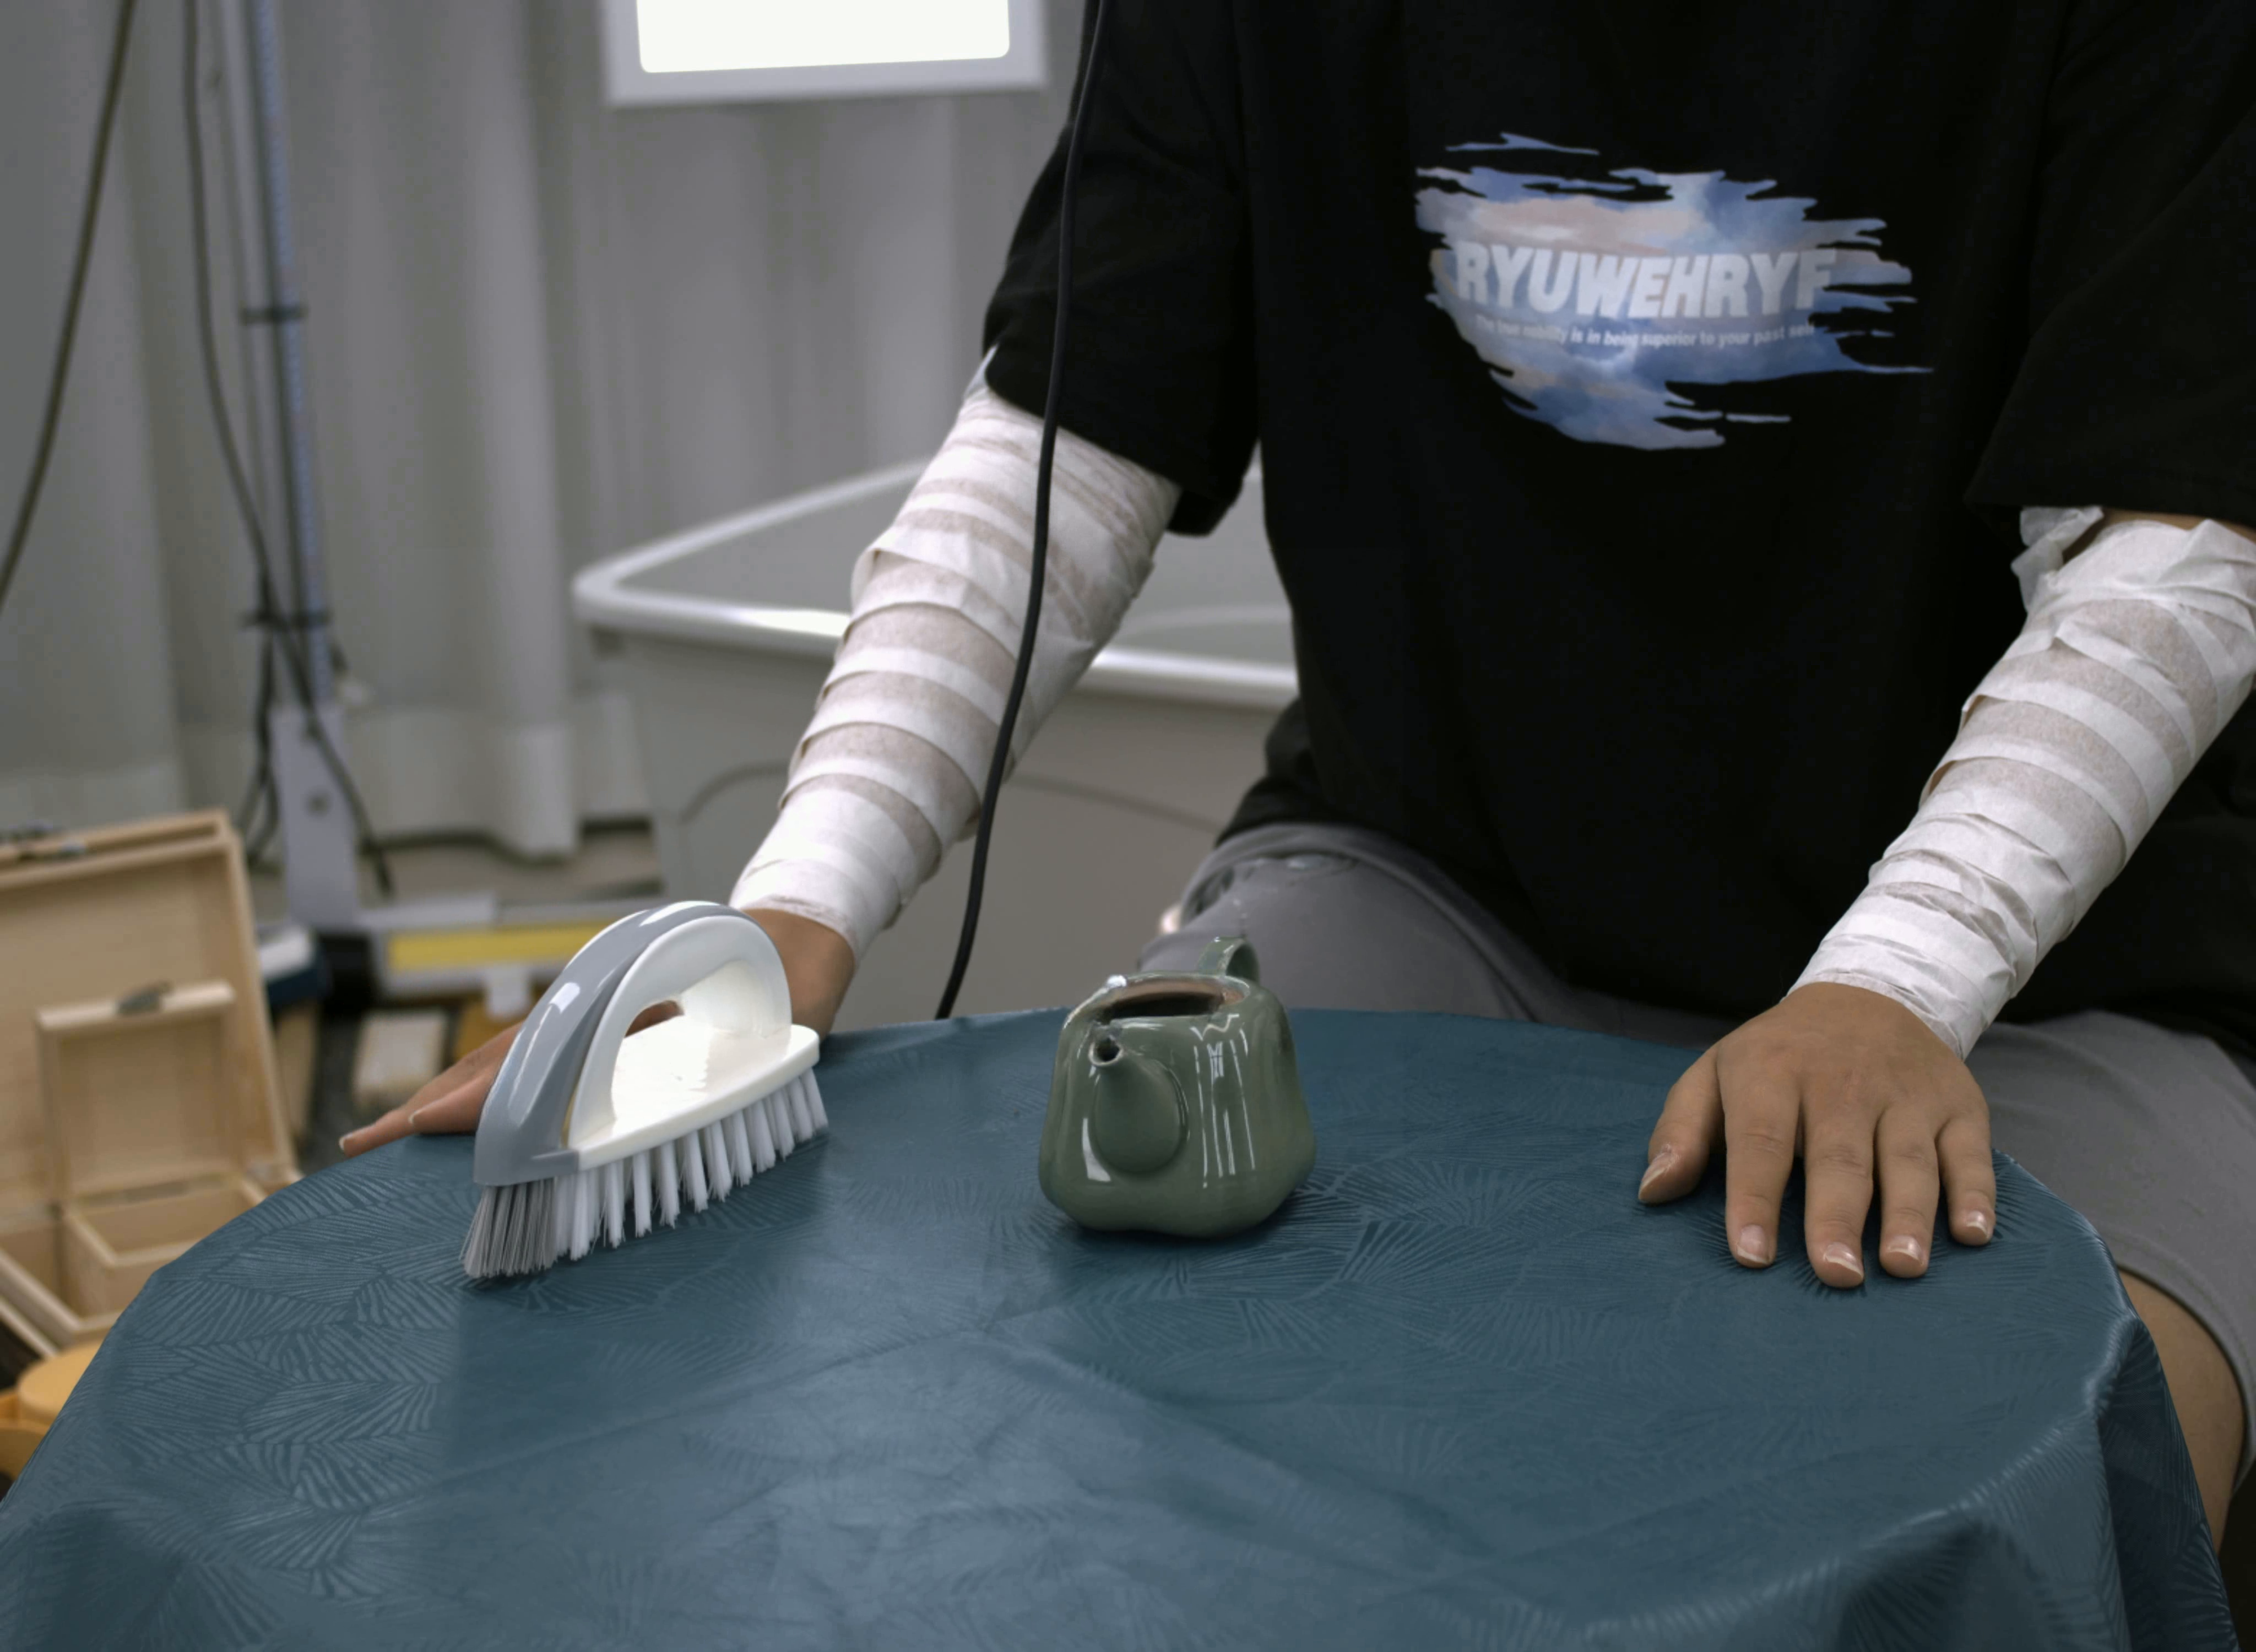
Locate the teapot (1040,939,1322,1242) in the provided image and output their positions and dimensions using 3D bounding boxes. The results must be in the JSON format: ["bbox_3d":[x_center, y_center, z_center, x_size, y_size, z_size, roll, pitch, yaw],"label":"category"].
[{"bbox_3d":[0.017,0.084,1.687,0.080,0.075,0.133,6,15,23],"label":"teapot"}]

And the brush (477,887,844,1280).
[{"bbox_3d":[-0.155,0.075,1.713,0.061,0.094,0.176,2,16,28],"label":"brush"}]
